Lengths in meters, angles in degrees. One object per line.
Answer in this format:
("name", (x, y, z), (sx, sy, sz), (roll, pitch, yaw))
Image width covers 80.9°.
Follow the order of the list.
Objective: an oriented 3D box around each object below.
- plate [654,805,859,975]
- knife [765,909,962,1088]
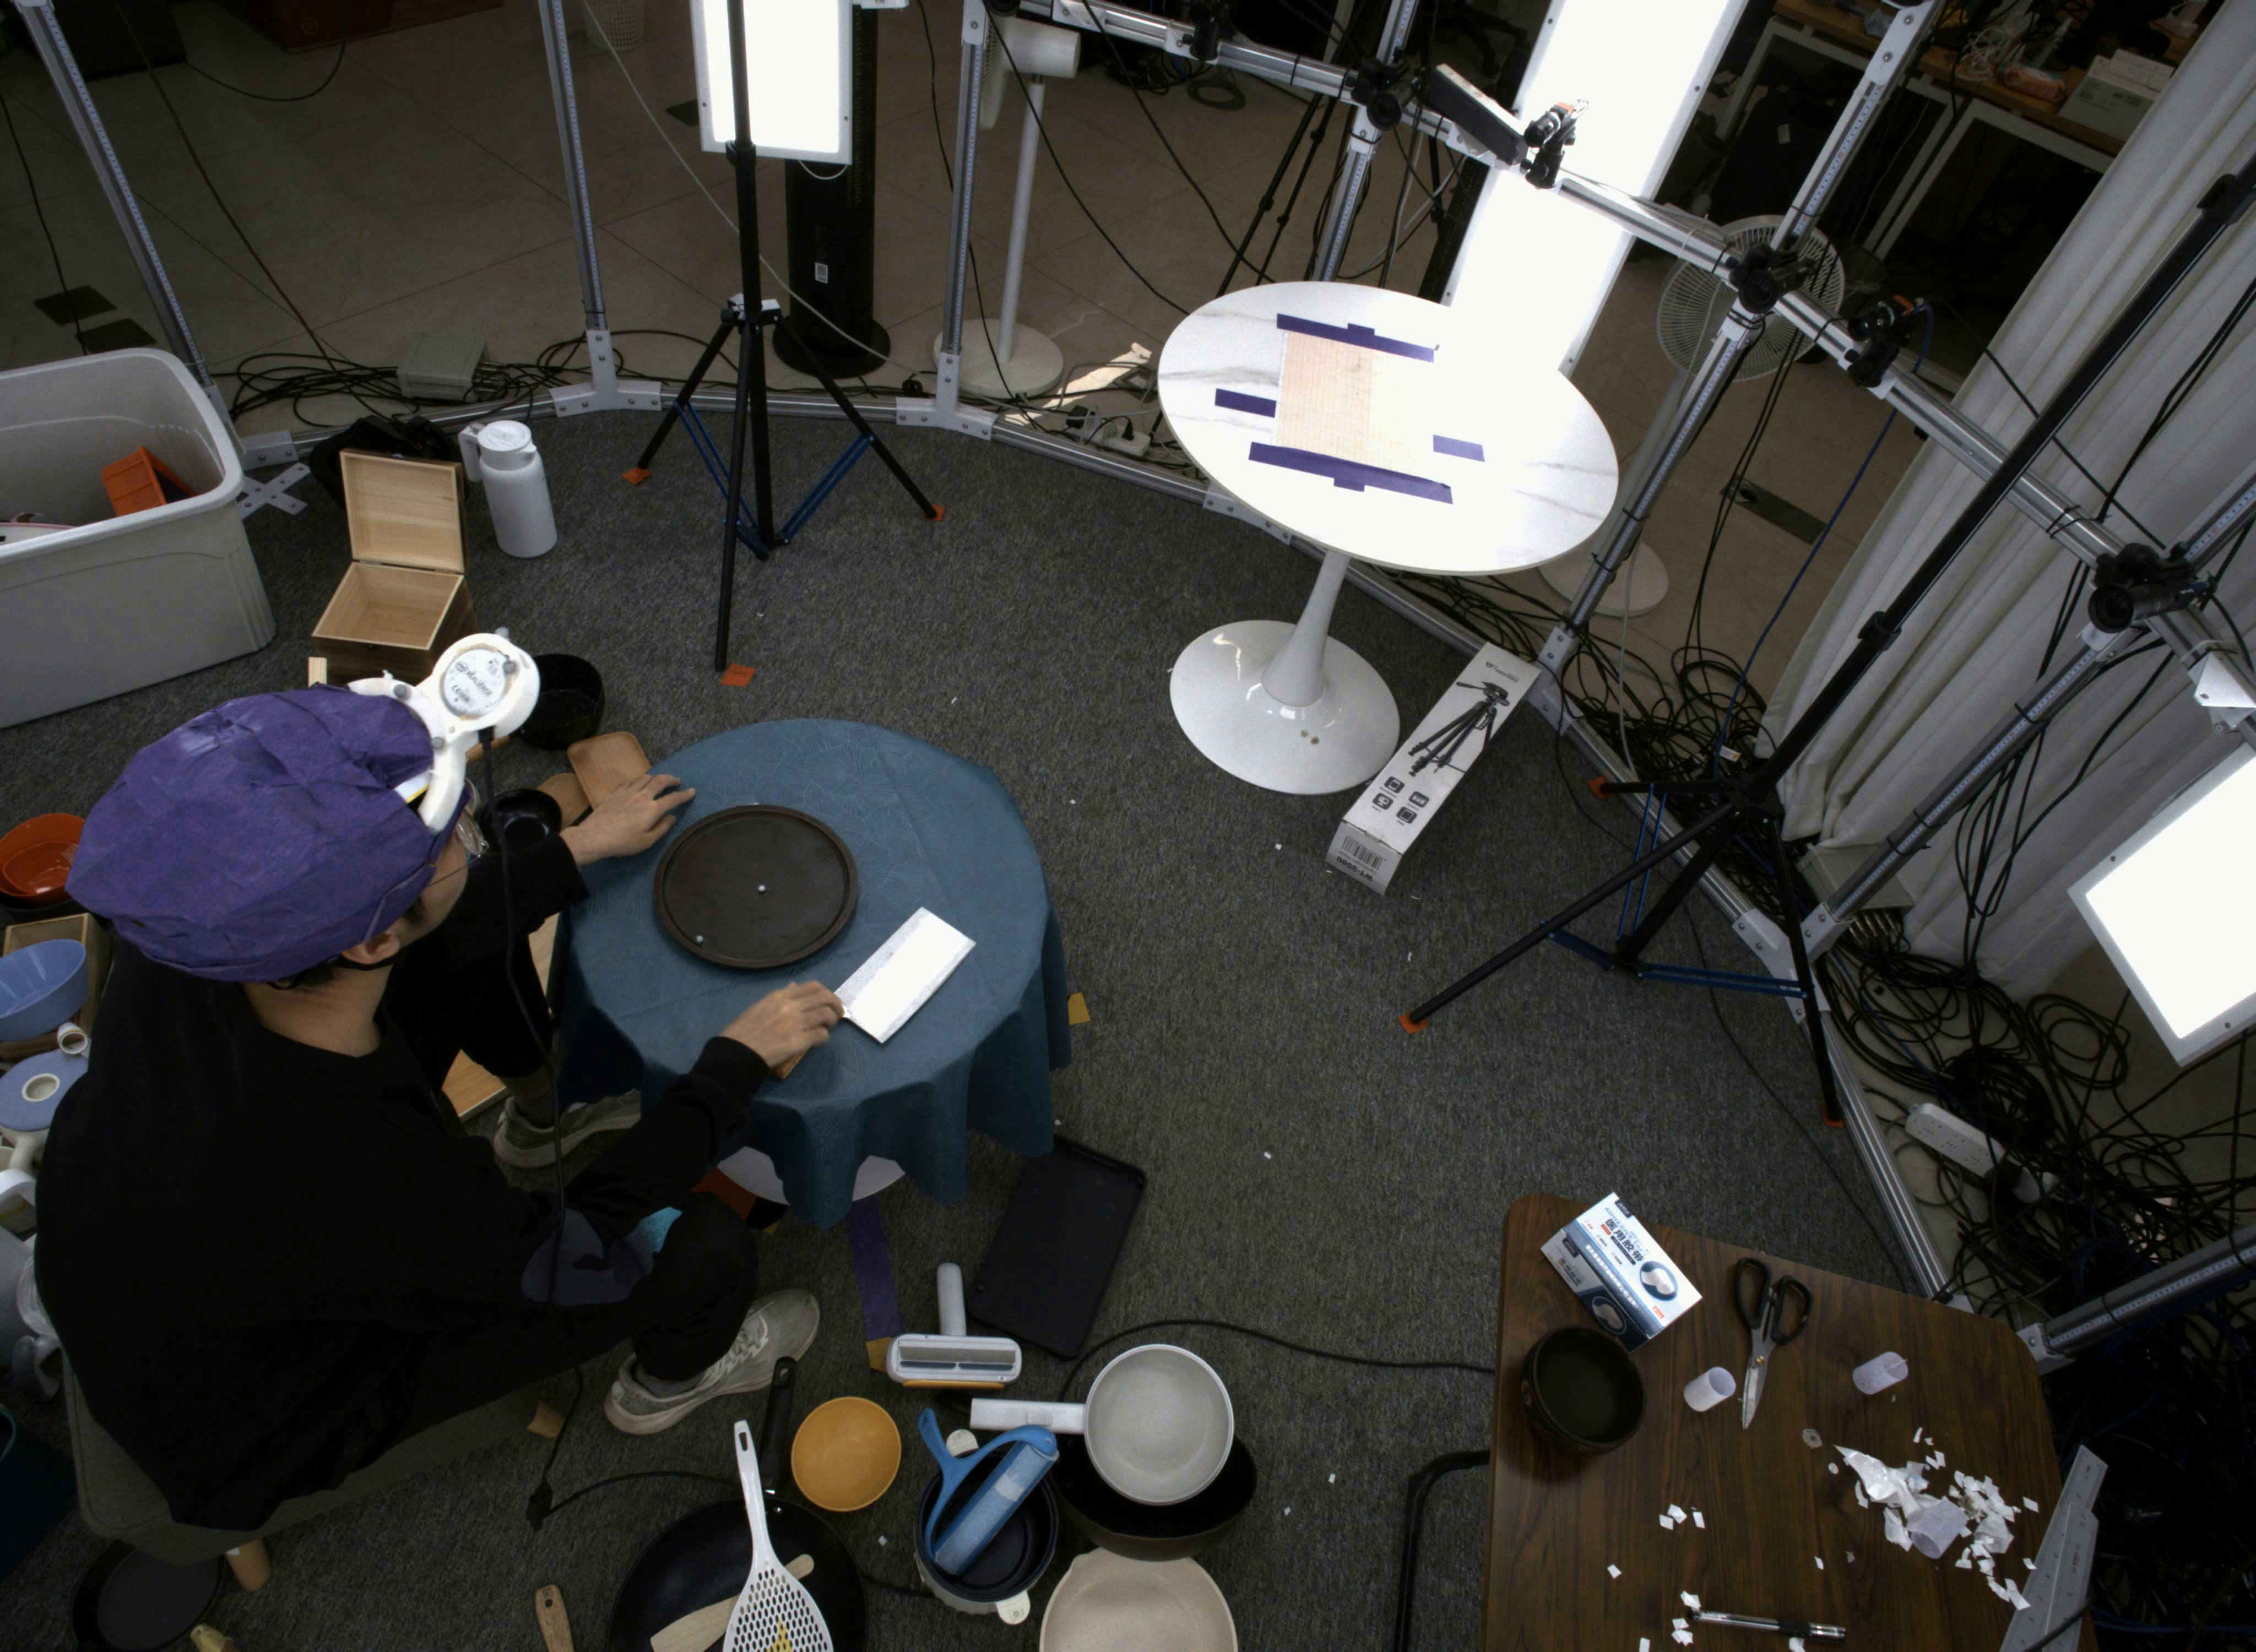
("plate", (-0.467, 0.076, 1.629), (0.255, 0.029, 0.250), (9, 52, -10))
("knife", (-0.309, 0.213, 1.575), (0.091, 0.021, 0.305), (33, 50, 10))
